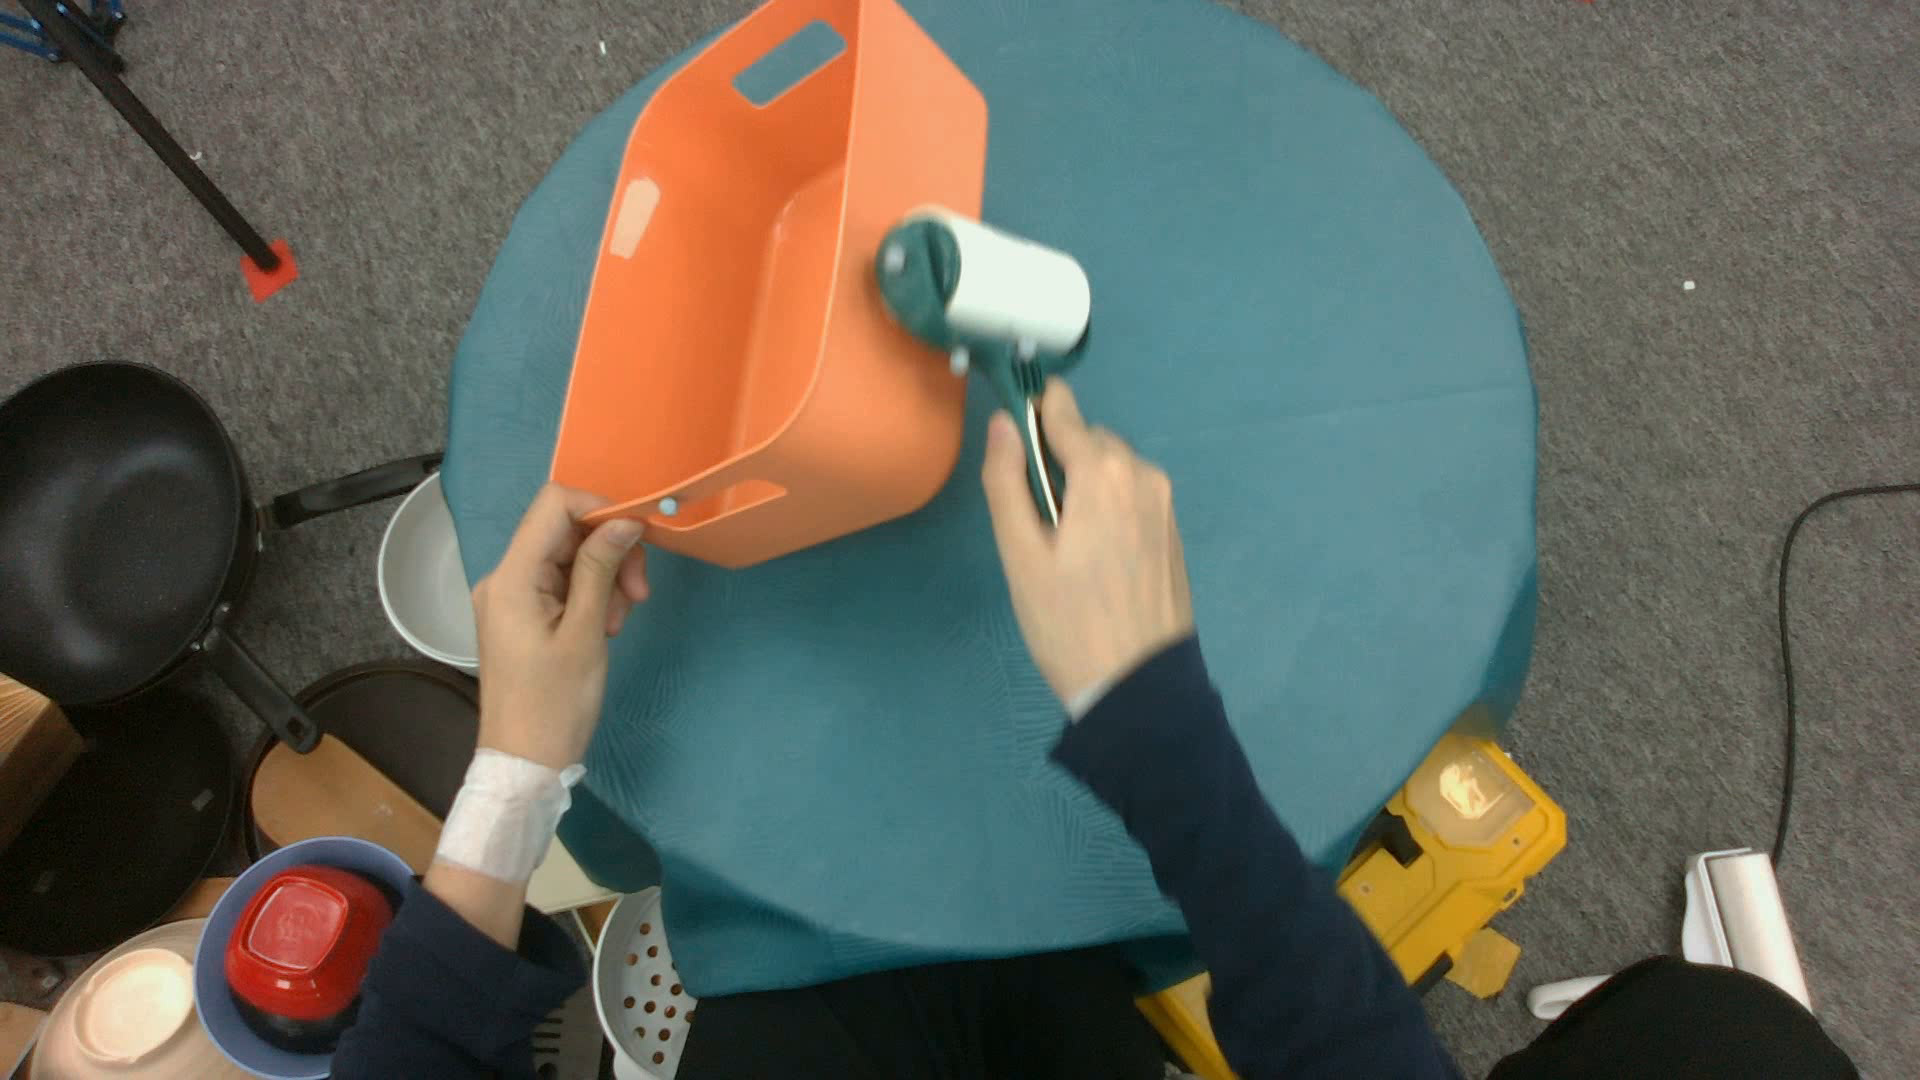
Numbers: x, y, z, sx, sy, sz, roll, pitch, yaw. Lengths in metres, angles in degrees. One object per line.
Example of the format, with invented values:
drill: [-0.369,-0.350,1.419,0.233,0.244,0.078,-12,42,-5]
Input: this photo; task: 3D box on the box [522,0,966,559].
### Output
box: [-0.096,-0.131,0.673,0.198,0.102,0.274,-18,56,37]

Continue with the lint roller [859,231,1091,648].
lint roller: [0.030,-0.044,0.590,0.048,0.134,0.180,-32,73,31]
